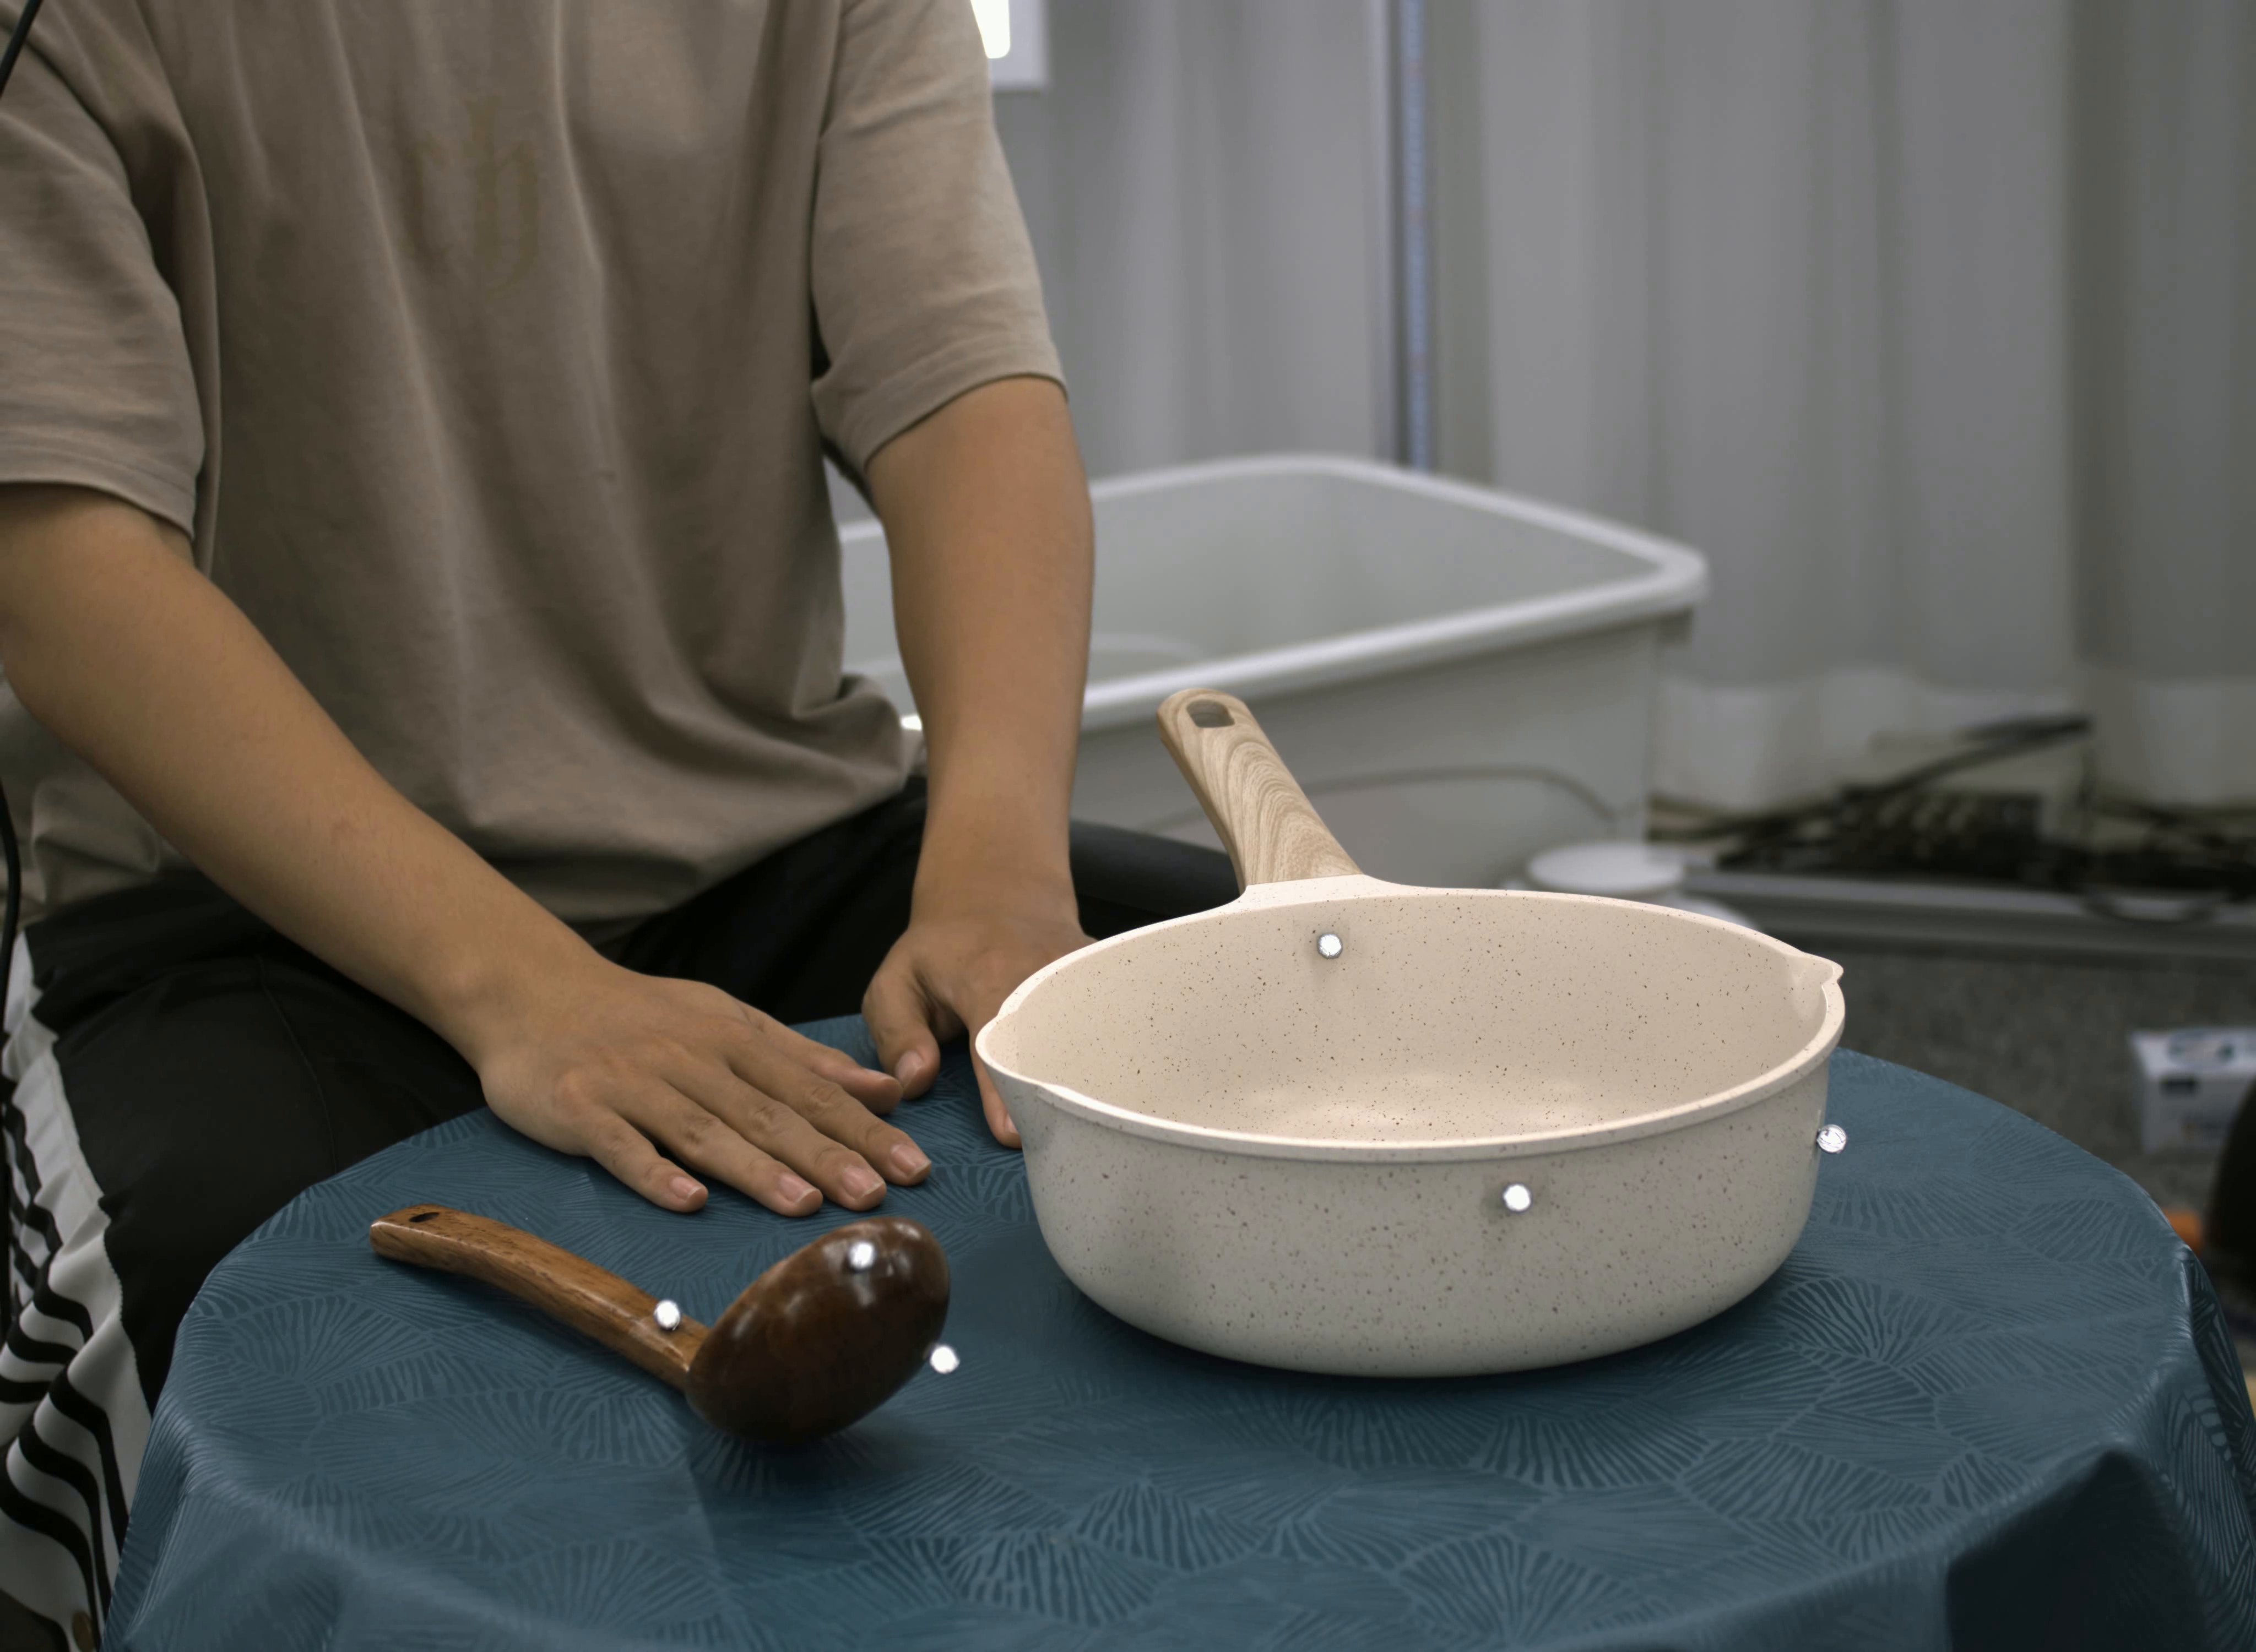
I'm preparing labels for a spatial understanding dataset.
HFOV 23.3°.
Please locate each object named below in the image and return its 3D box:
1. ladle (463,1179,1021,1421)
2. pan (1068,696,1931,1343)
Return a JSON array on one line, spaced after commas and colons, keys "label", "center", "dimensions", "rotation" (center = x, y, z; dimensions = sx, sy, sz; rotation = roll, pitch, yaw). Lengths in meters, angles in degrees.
[{"label": "ladle", "center": [-0.126, 0.113, 1.578], "dimensions": [0.081, 0.076, 0.276], "rotation": [-14, 19, -32]}, {"label": "pan", "center": [0.094, 0.055, 1.714], "dimensions": [0.262, 0.101, 0.438], "rotation": [-7, 15, -10]}]
